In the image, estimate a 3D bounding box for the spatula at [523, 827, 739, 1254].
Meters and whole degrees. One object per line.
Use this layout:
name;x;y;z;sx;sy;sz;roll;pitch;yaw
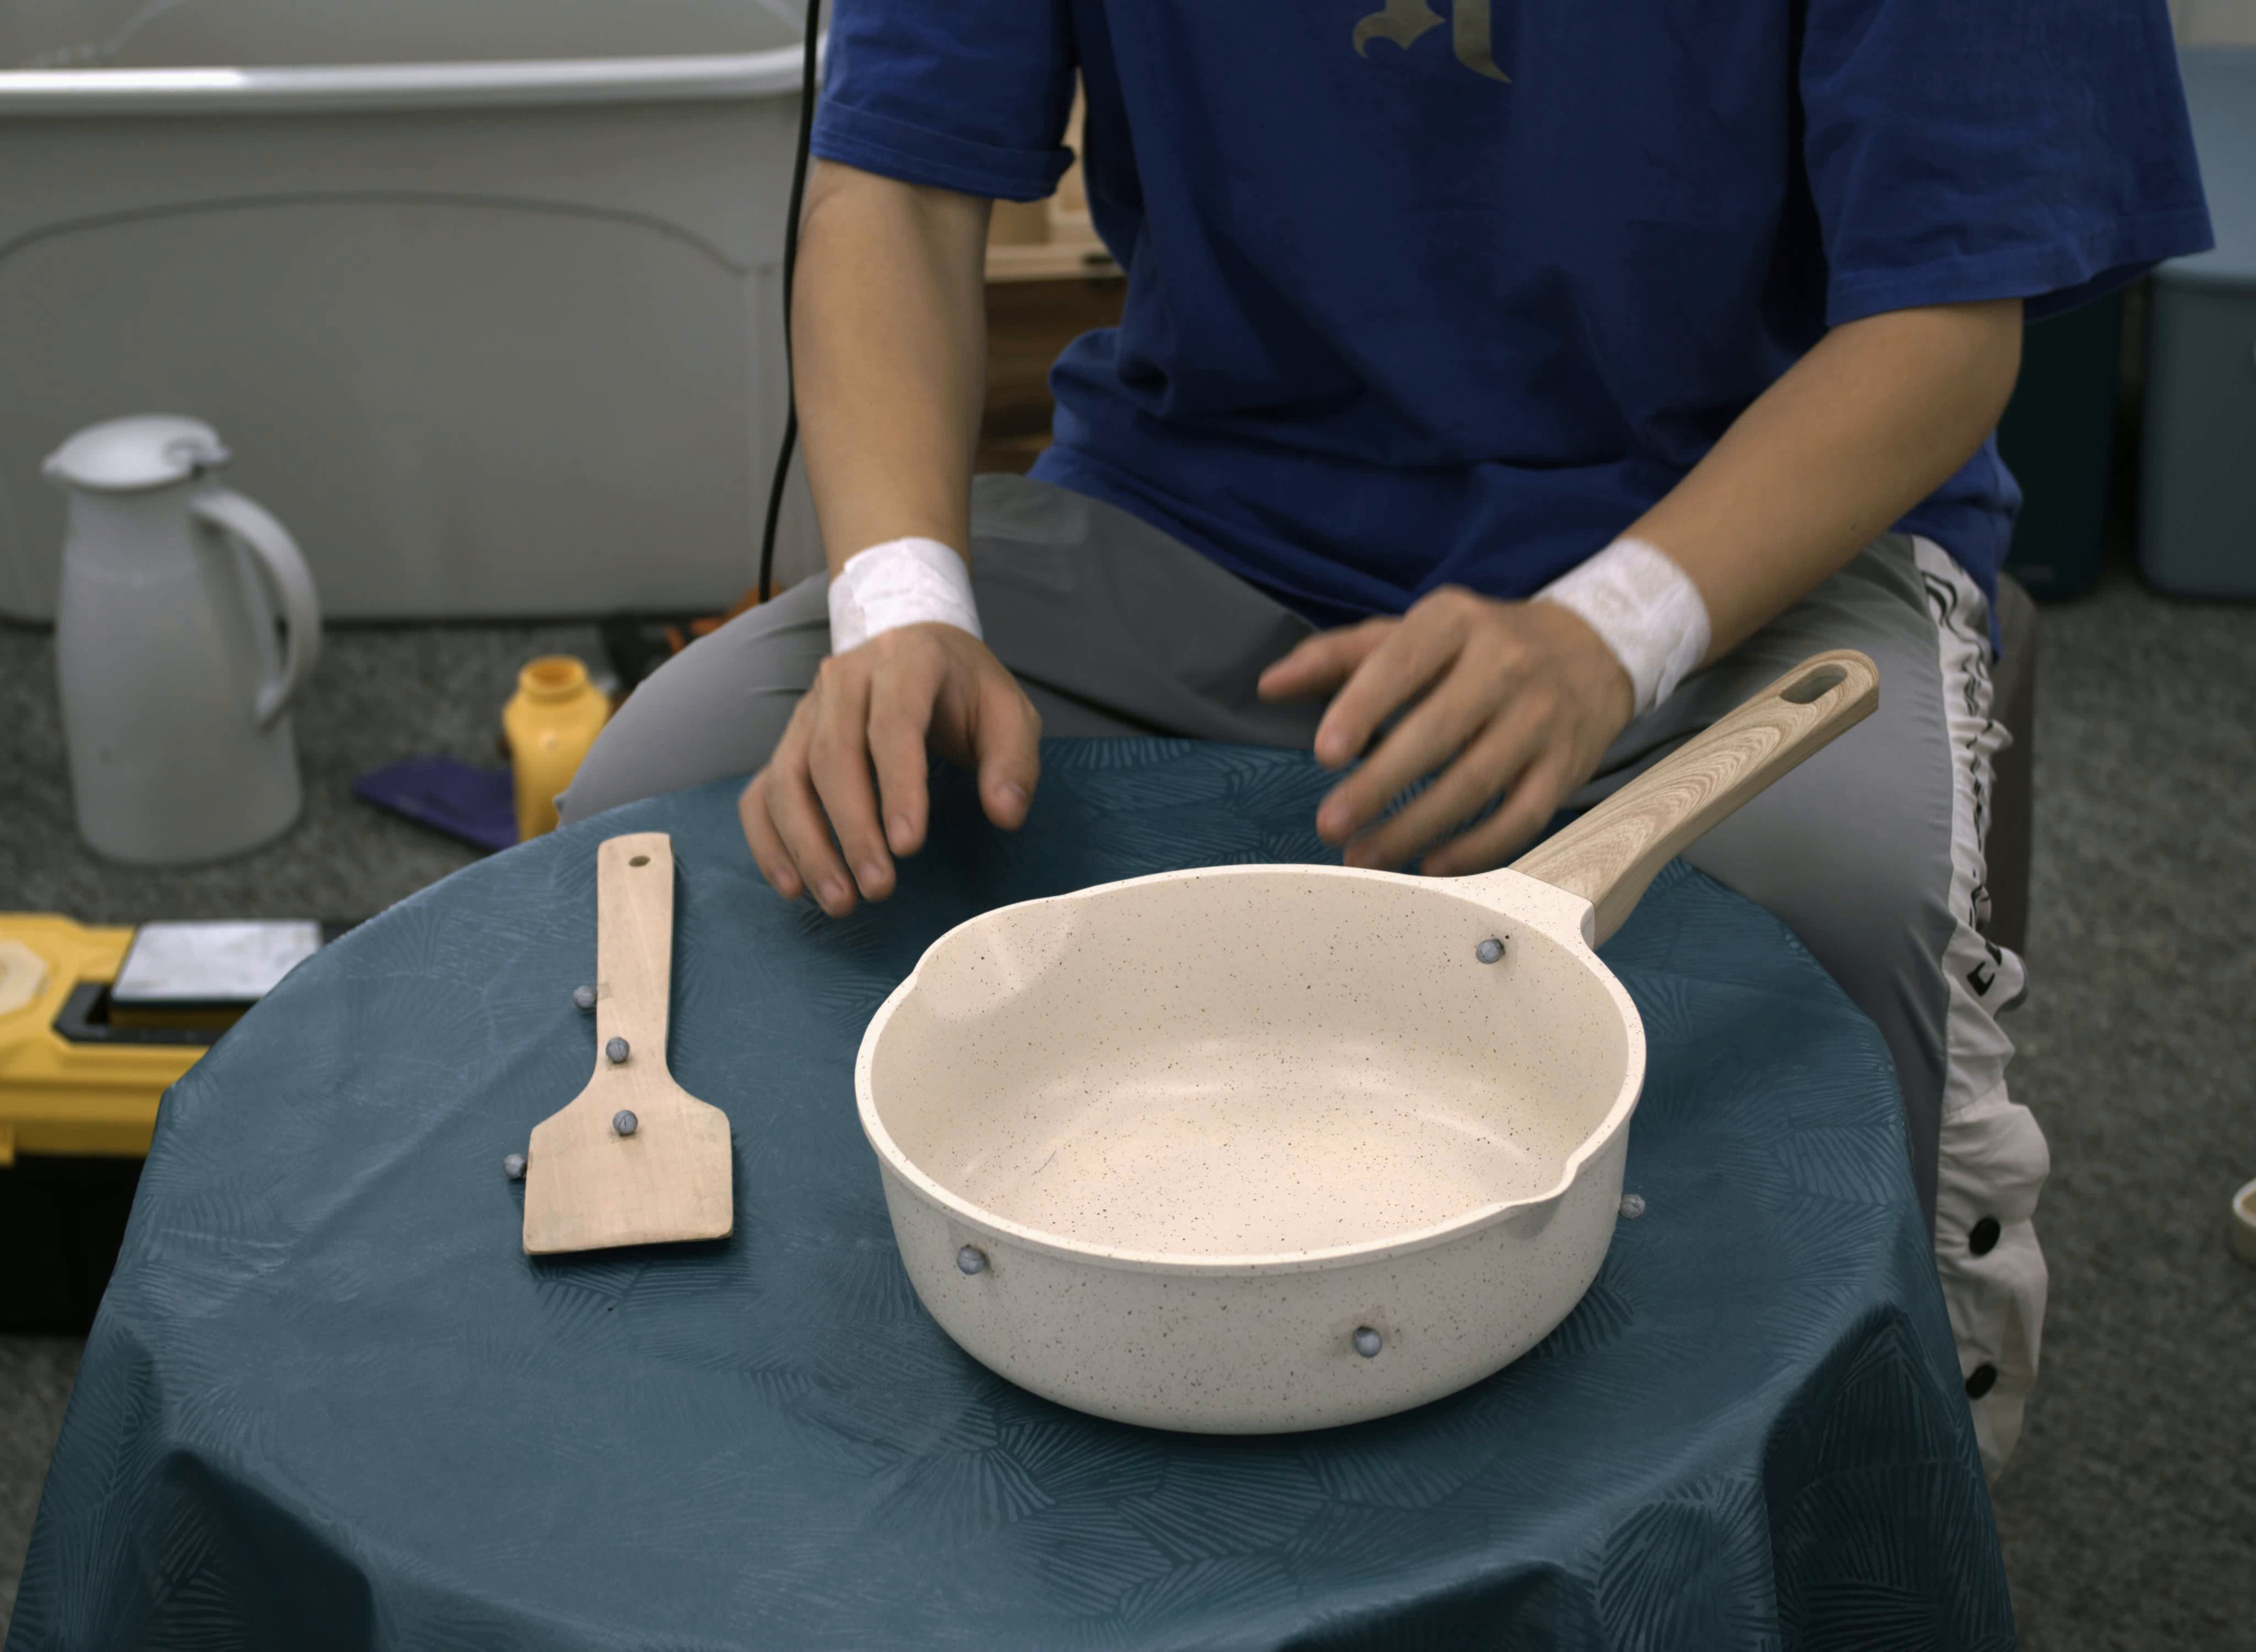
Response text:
spatula;-0.173;0.071;1.965;0.072;0.010;0.297;-5;28;-2

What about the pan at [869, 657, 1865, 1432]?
pan;0.107;0.066;1.849;0.262;0.101;0.440;19;34;39
